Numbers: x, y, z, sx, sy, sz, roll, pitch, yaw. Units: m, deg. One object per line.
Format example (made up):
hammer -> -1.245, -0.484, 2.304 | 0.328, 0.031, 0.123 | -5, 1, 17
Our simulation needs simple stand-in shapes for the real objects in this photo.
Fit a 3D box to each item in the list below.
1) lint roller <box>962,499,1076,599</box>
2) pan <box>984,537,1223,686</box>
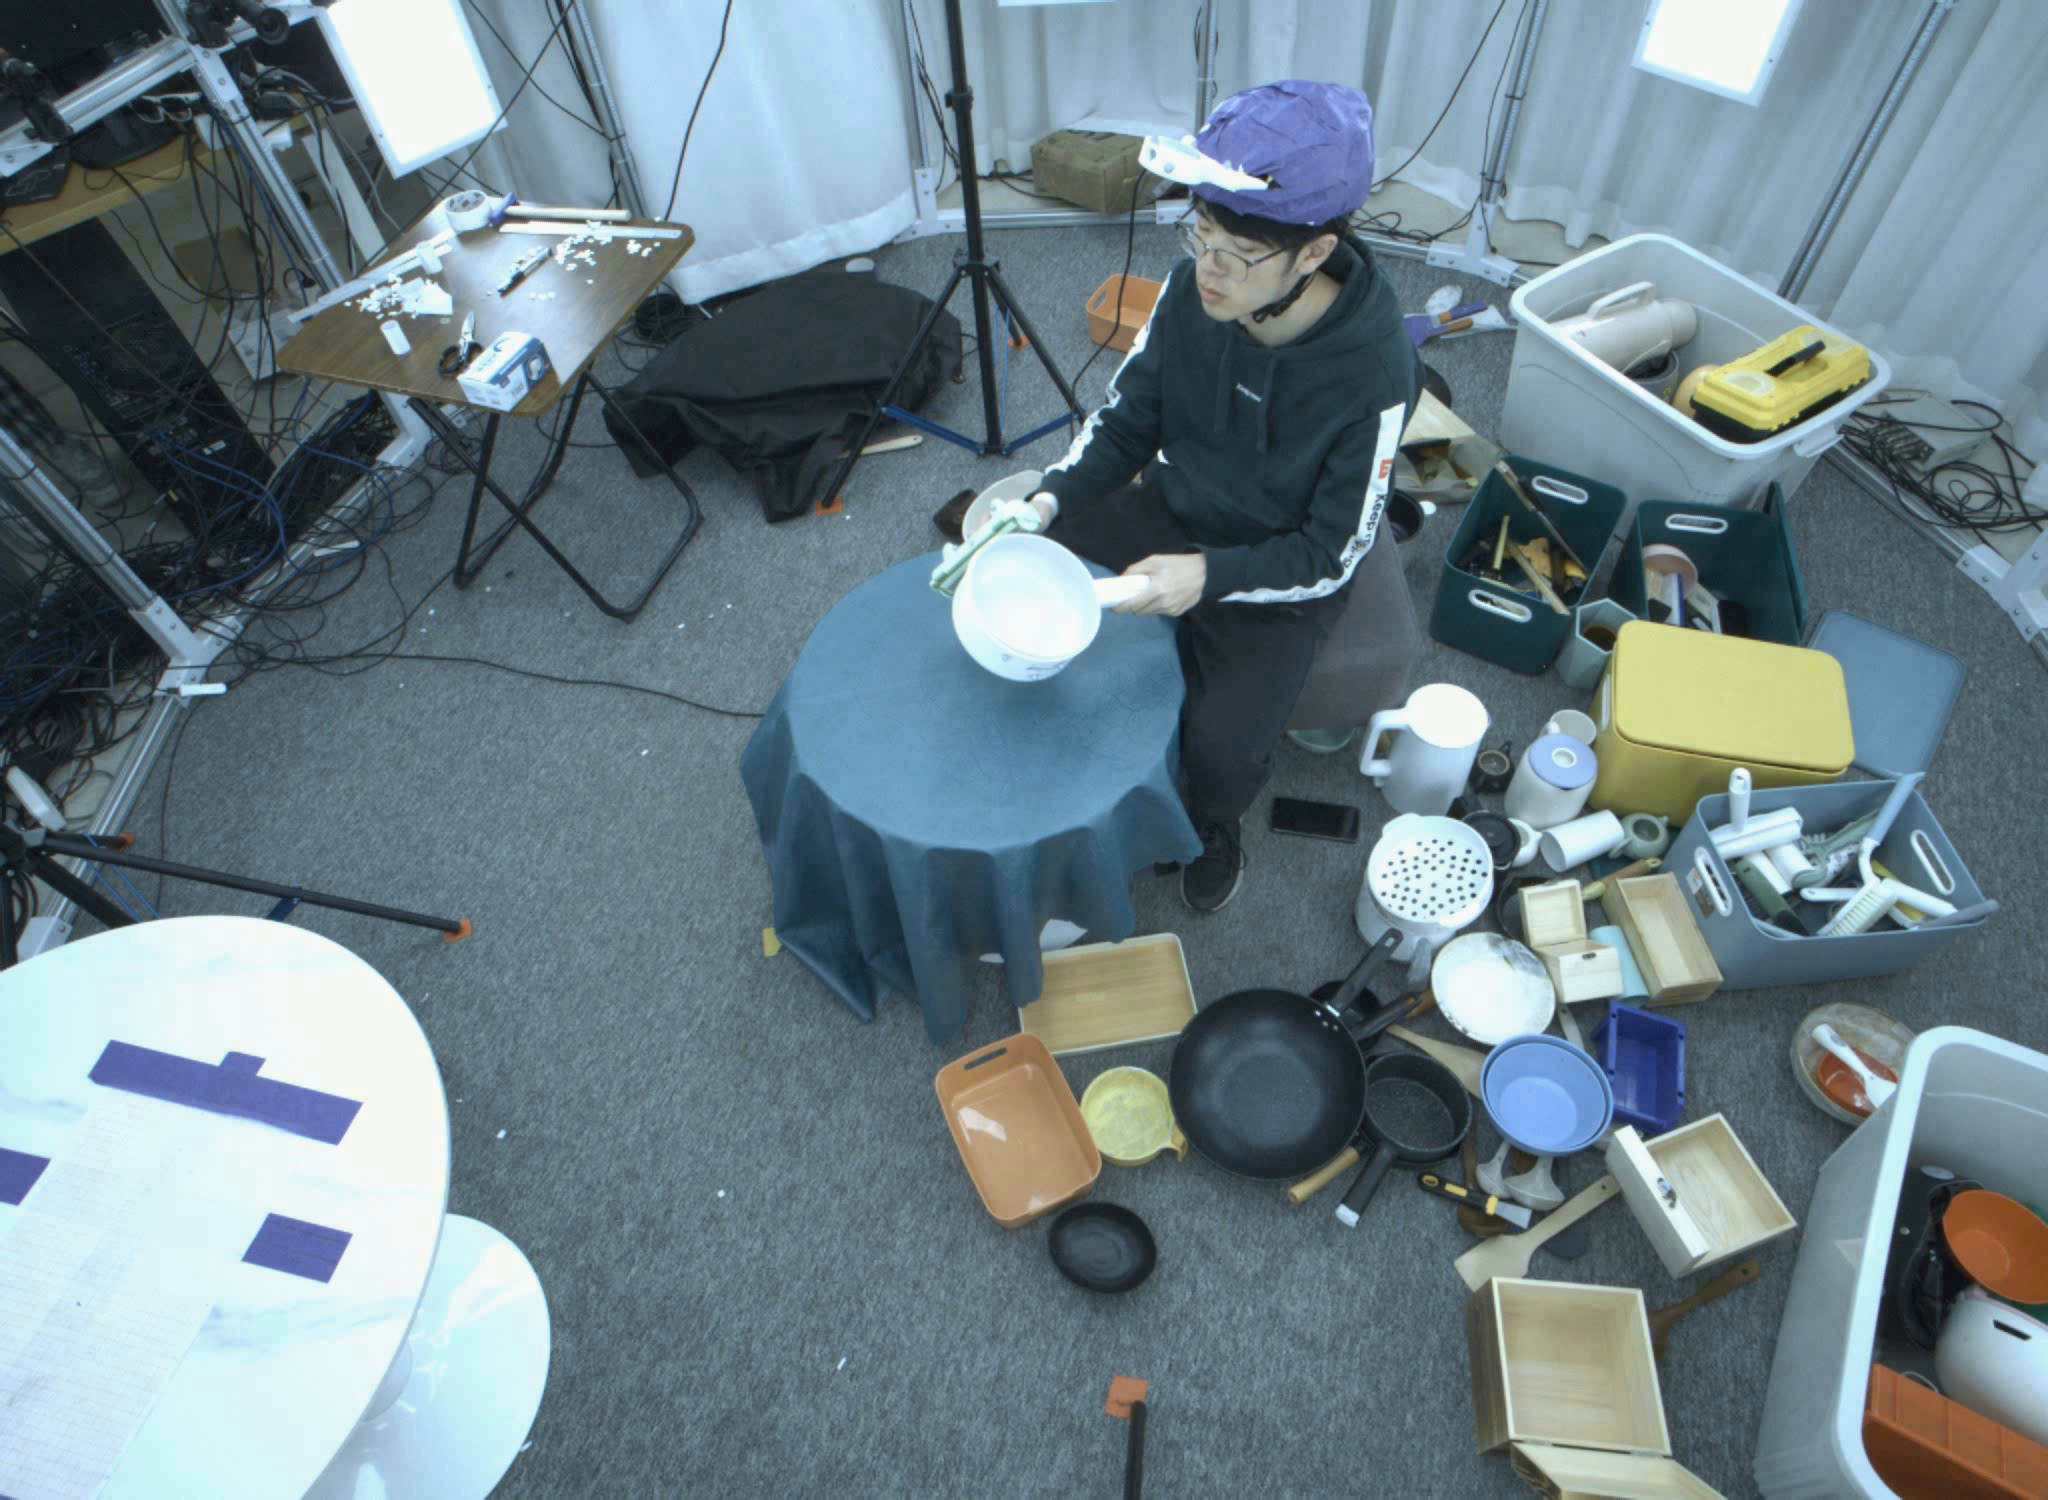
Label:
lint roller -> 0.011, -0.318, 1.823 | 0.082, 0.196, 0.185 | 53, 39, -3
pan -> 0.112, -0.199, 1.760 | 0.361, 0.101, 0.199 | -8, 73, -27
